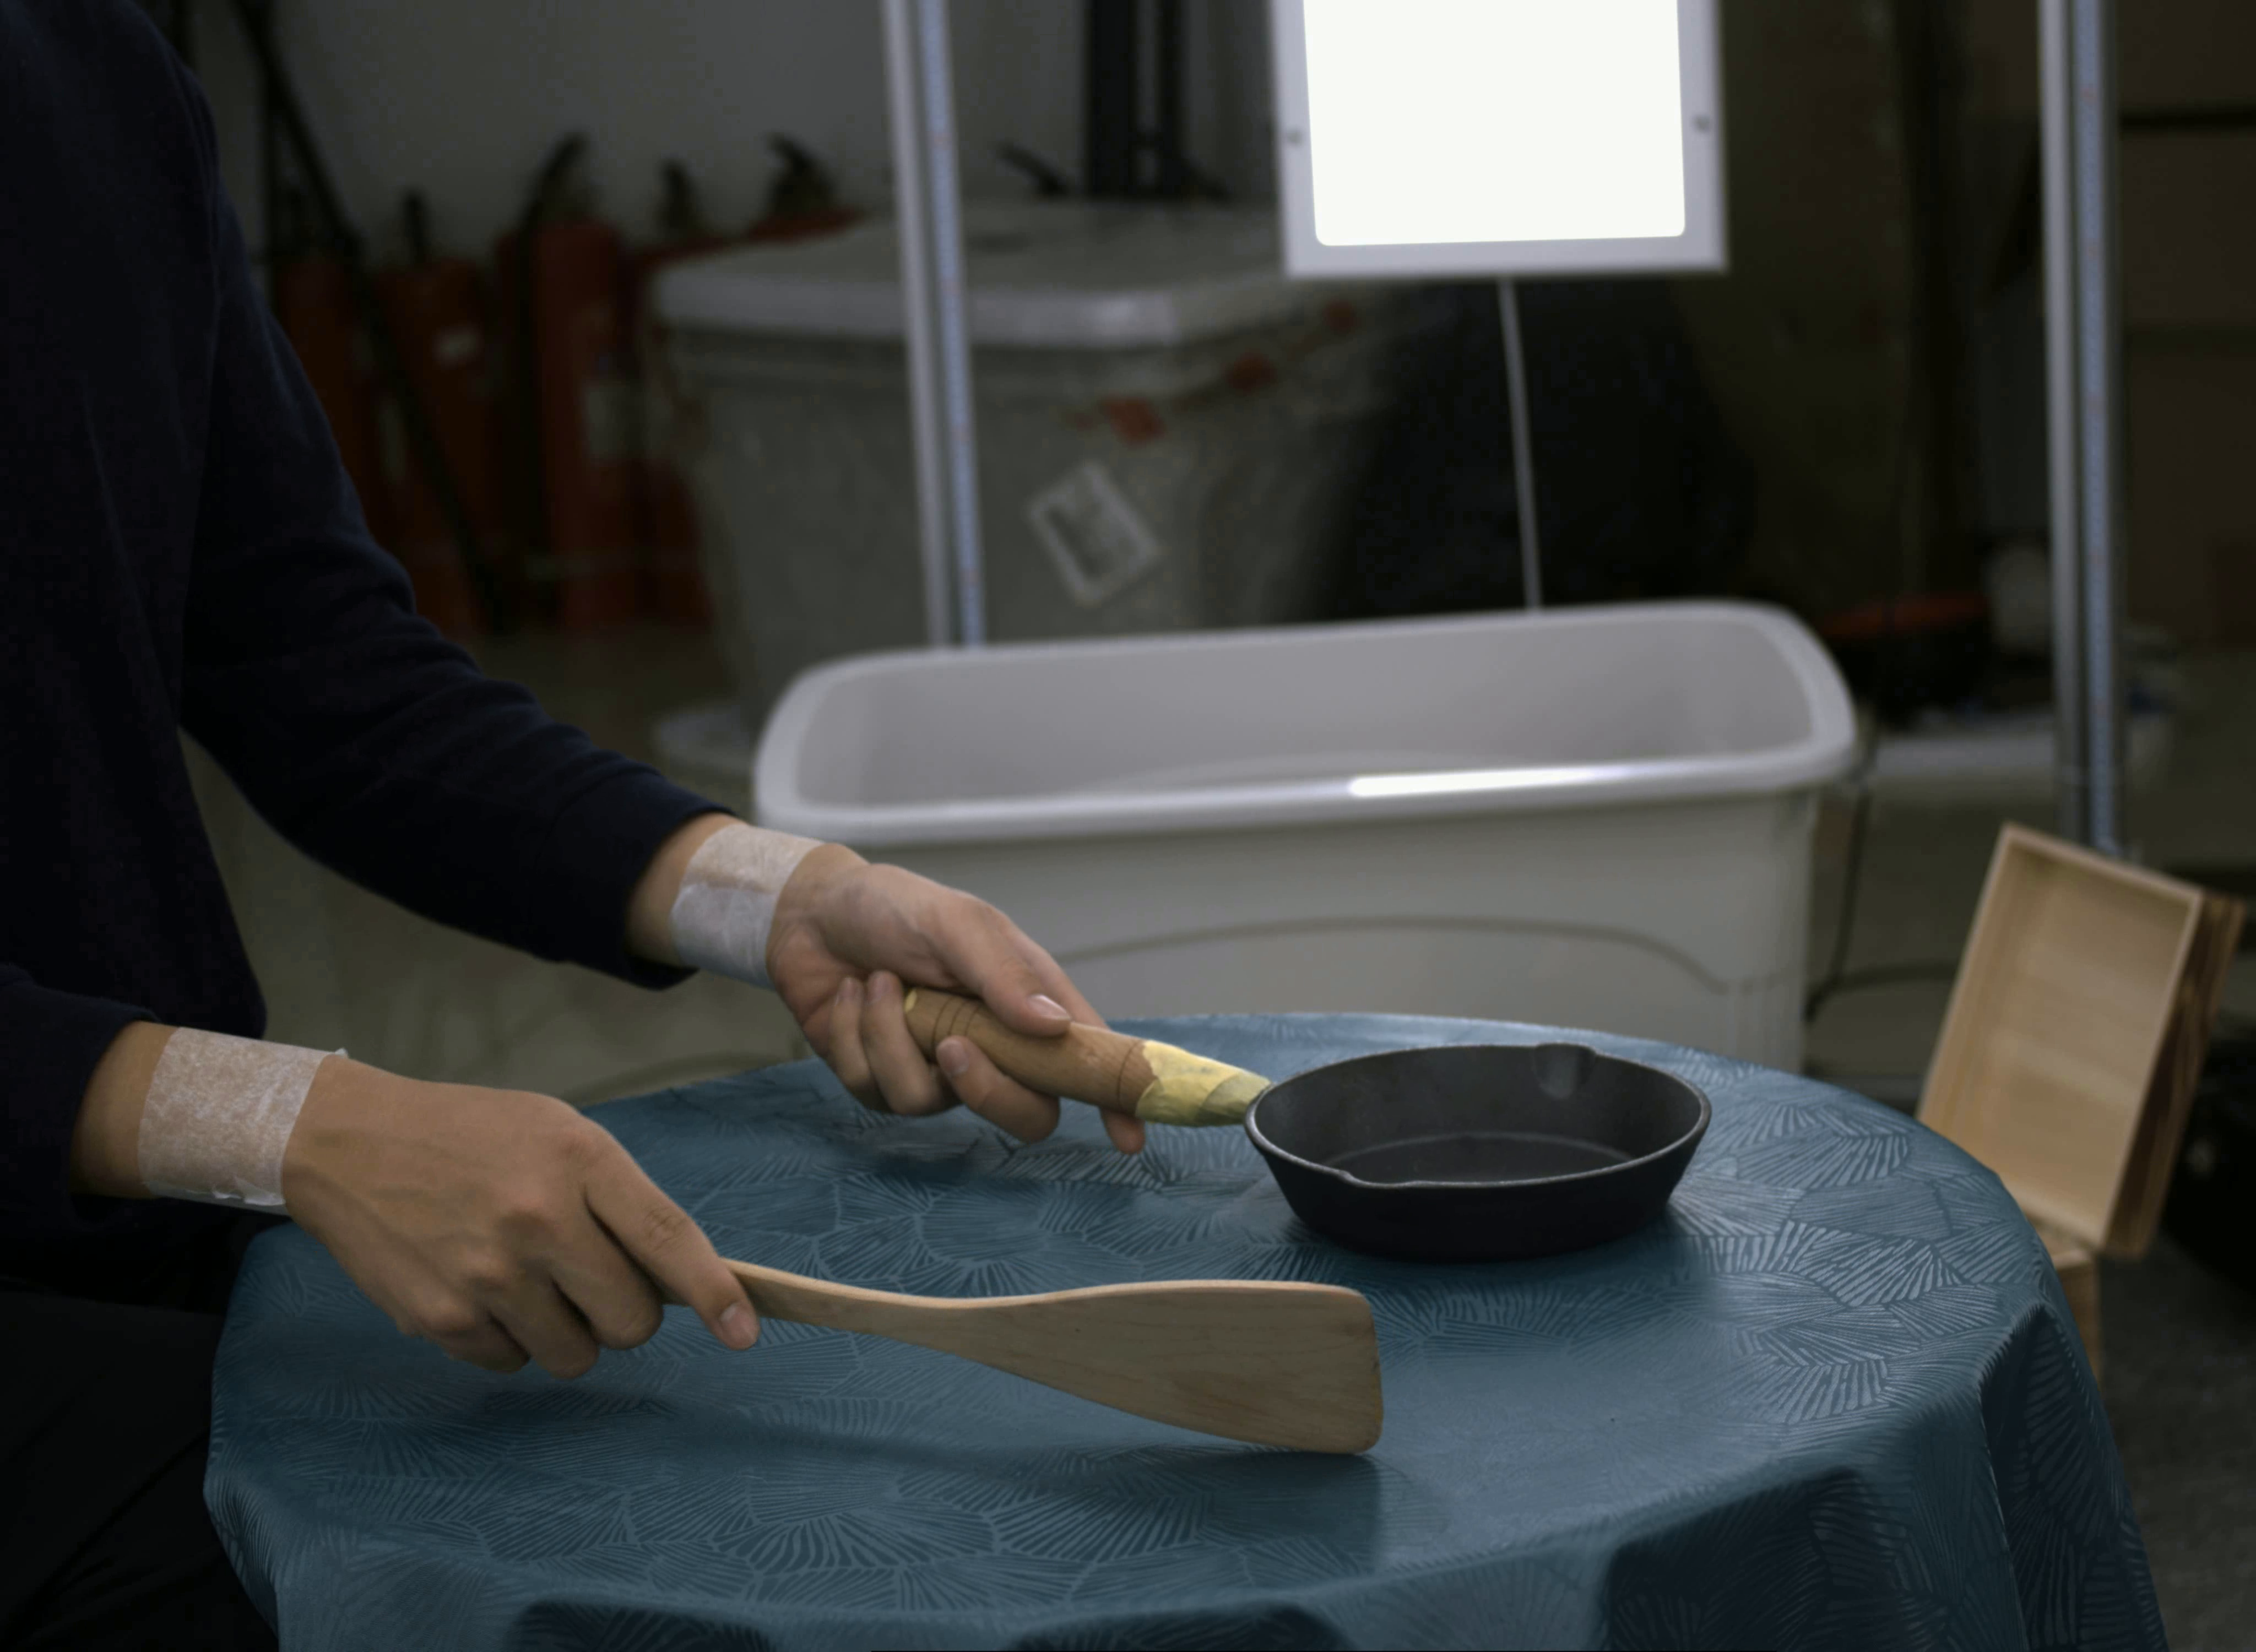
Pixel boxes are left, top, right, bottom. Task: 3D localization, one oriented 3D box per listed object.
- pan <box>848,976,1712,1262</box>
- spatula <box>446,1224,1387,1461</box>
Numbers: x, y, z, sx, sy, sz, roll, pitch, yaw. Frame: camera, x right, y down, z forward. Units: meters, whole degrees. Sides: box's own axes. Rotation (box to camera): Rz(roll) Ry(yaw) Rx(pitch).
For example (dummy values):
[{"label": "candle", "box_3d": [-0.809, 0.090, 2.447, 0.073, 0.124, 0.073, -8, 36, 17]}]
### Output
[{"label": "pan", "box_3d": [0.045, 0.095, 1.887, 0.330, 0.050, 0.165, 7, 18, 31]}, {"label": "spatula", "box_3d": [-0.068, 0.148, 1.675, 0.333, 0.079, 0.016, 6, 47, 29]}]
